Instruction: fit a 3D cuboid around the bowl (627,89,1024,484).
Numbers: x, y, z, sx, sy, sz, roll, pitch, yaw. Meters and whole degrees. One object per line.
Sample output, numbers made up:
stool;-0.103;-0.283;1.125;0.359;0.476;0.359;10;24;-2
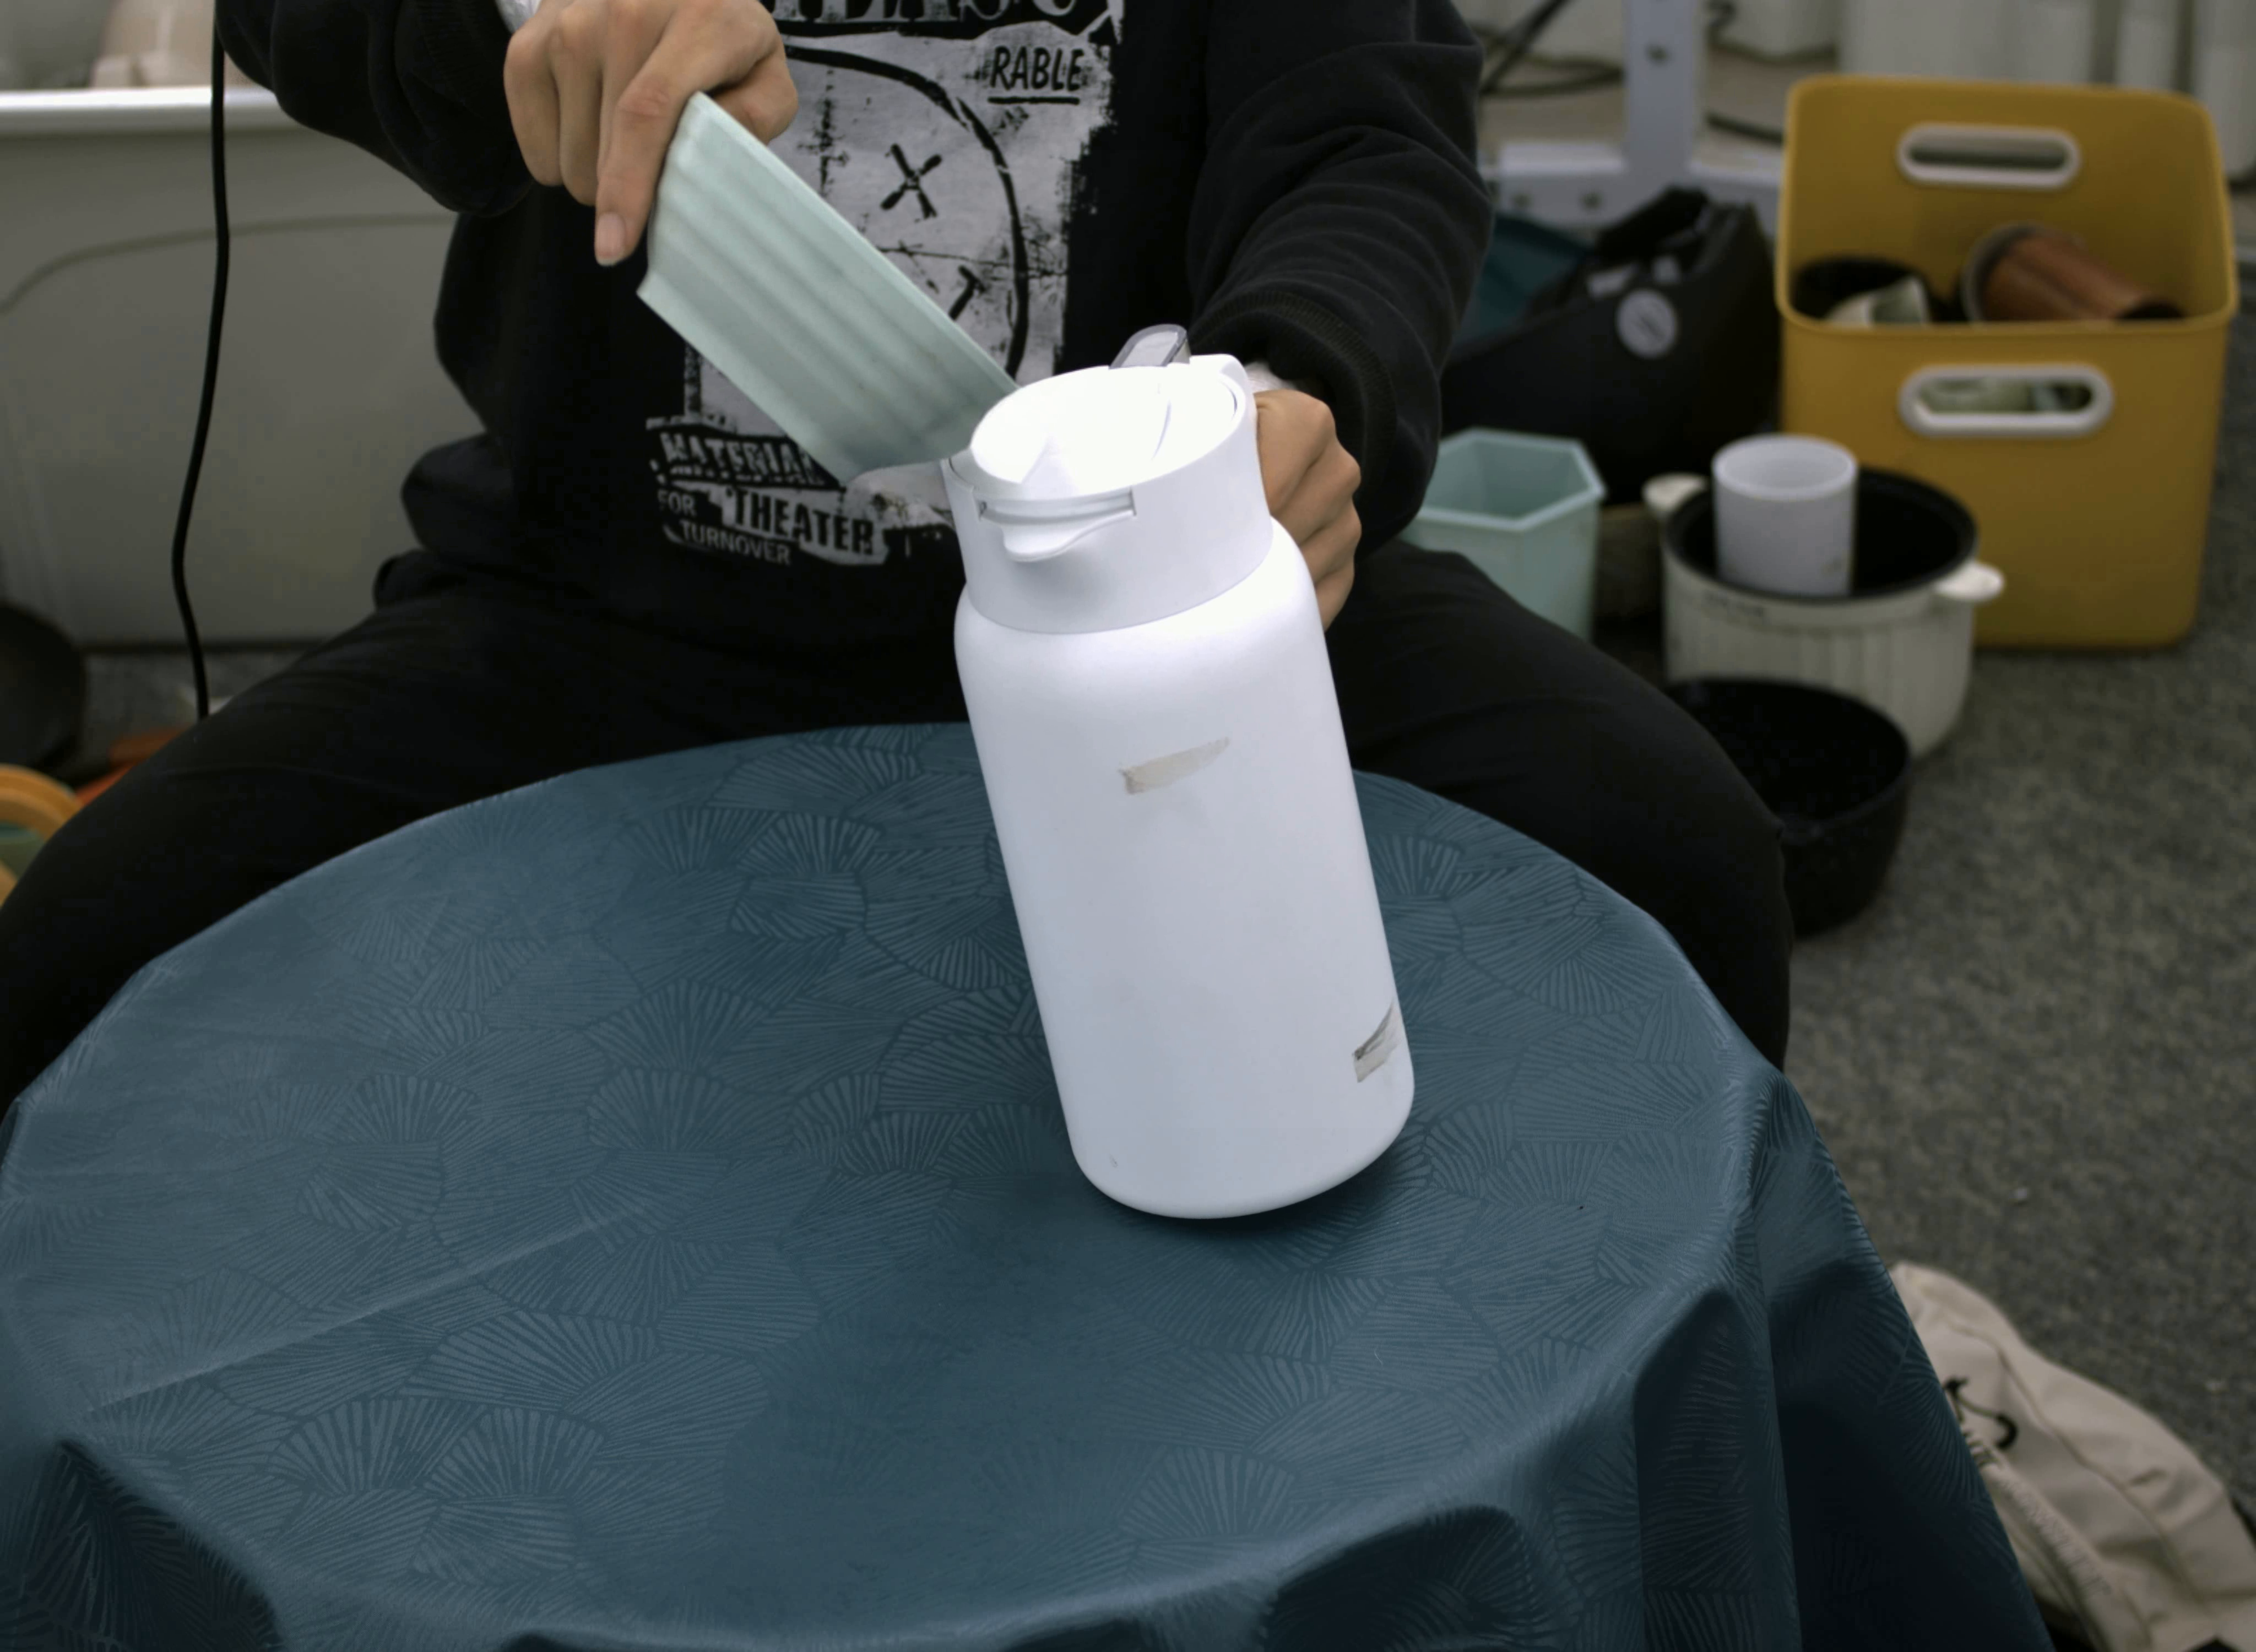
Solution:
bowl;-0.101;-0.154;1.707;0.059;0.150;0.152;-48;36;0

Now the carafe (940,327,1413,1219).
carafe;0.018;-0.021;1.834;0.122;0.266;0.176;-4;27;21
